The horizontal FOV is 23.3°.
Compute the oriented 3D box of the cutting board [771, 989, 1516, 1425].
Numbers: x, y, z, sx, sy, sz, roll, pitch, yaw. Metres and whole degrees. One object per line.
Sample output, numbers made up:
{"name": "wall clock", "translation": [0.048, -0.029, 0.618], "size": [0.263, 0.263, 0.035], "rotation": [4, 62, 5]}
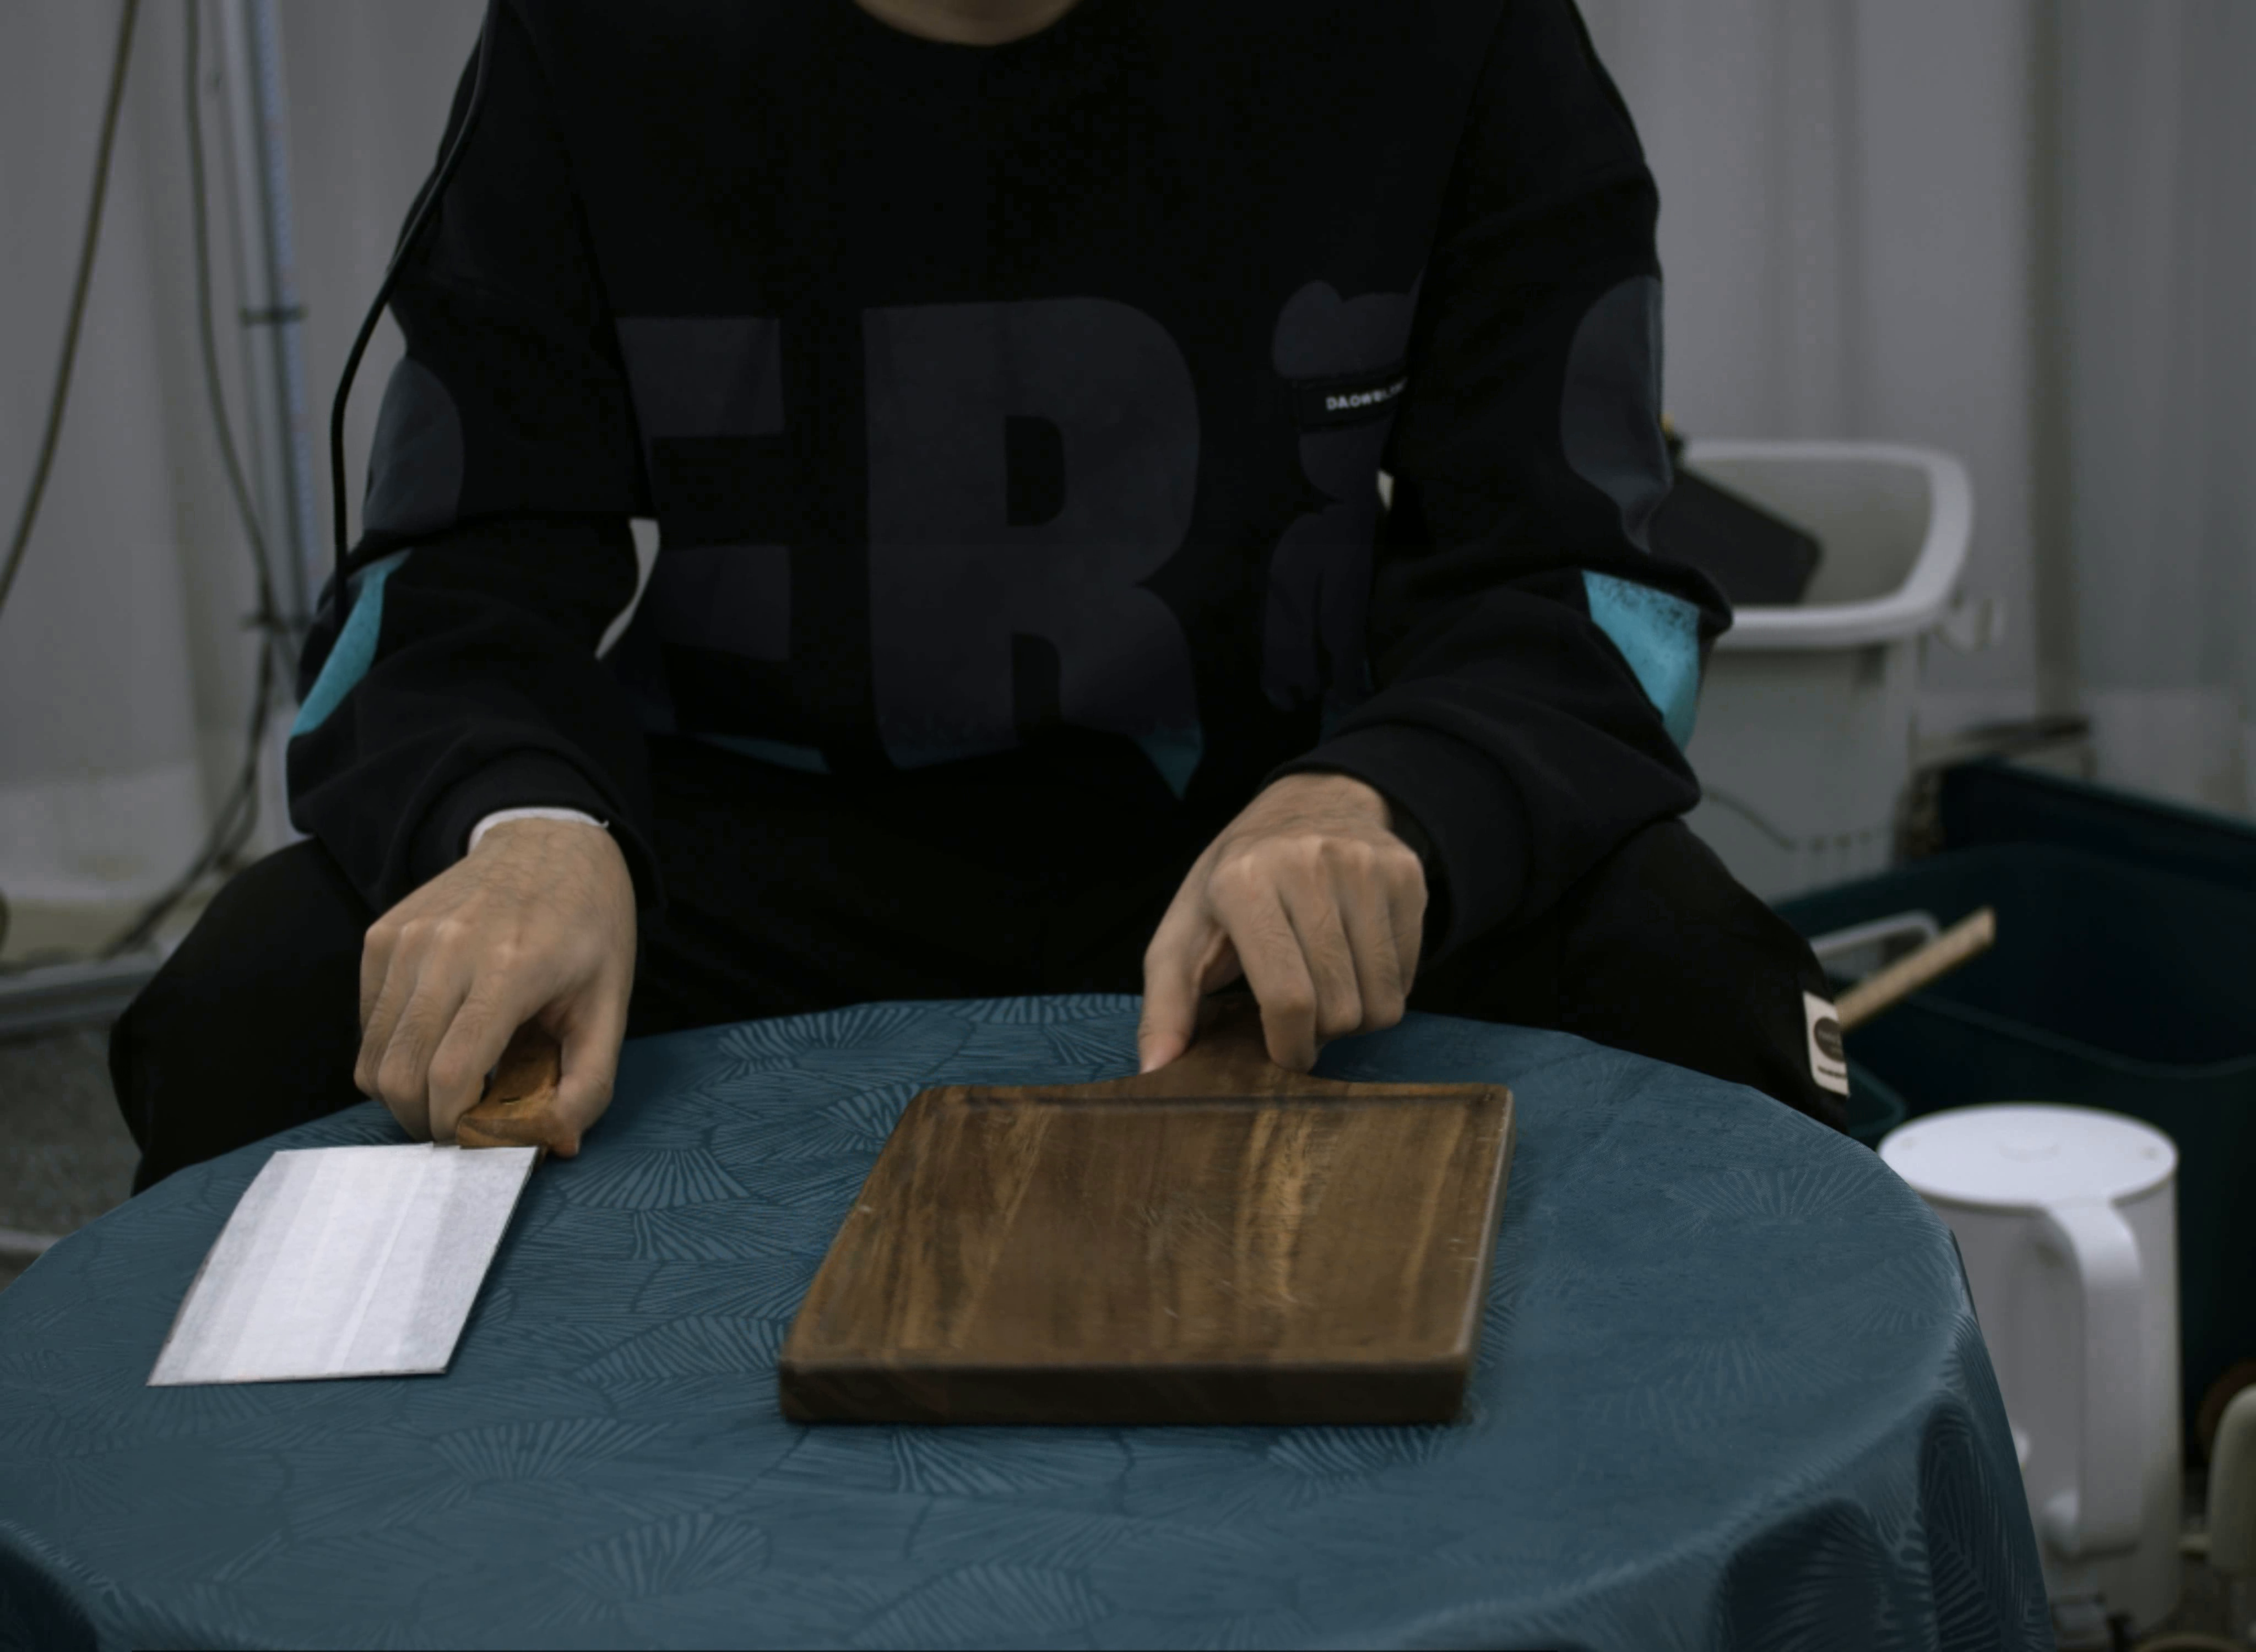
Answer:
{"name": "cutting board", "translation": [0.018, 0.111, 1.685], "size": [0.200, 0.023, 0.354], "rotation": [-1, 15, 9]}

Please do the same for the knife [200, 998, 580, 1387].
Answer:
{"name": "knife", "translation": [-0.232, 0.115, 1.733], "size": [0.092, 0.021, 0.308], "rotation": [-4, 17, 4]}
